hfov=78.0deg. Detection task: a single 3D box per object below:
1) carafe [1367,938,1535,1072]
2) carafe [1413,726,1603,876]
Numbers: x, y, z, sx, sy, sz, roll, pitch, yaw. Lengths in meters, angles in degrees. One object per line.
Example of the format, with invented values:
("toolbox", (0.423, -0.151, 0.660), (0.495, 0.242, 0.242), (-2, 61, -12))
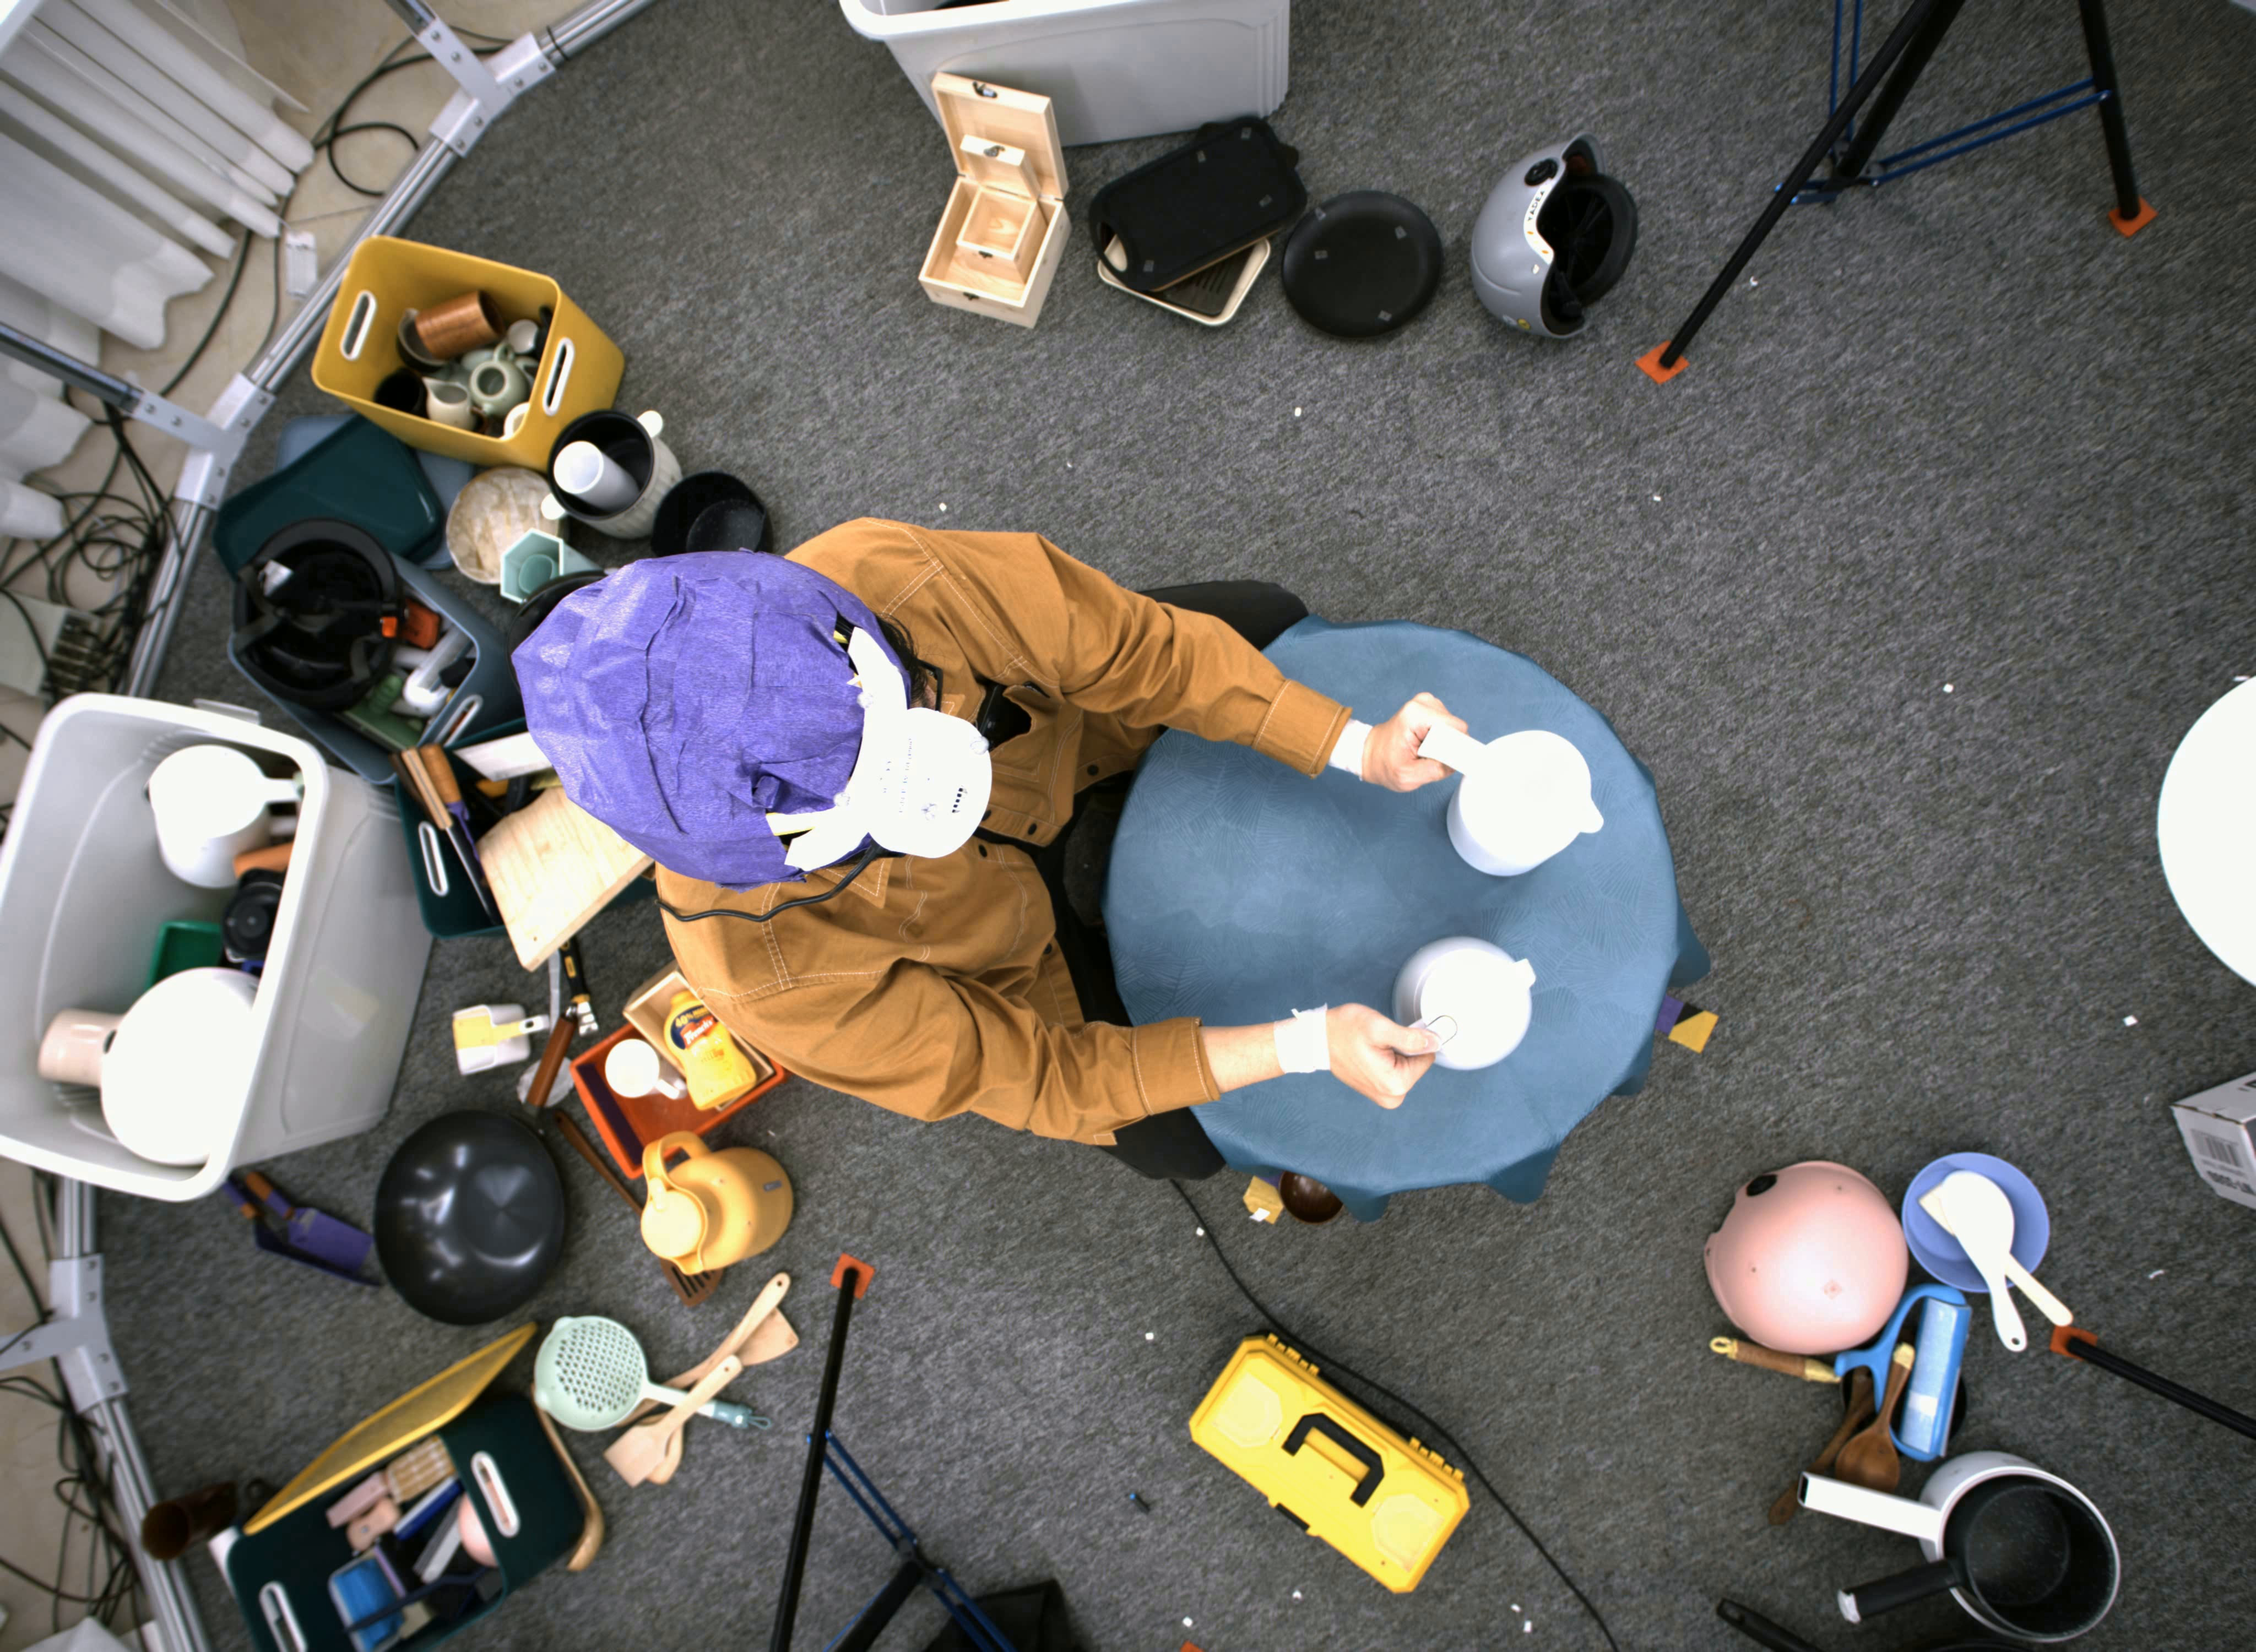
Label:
("carafe", (0.306, 0.181, 1.323), (0.169, 0.249, 0.131), (-34, 80, 7))
("carafe", (0.355, -0.028, 1.314), (0.172, 0.269, 0.124), (29, 92, 12))
